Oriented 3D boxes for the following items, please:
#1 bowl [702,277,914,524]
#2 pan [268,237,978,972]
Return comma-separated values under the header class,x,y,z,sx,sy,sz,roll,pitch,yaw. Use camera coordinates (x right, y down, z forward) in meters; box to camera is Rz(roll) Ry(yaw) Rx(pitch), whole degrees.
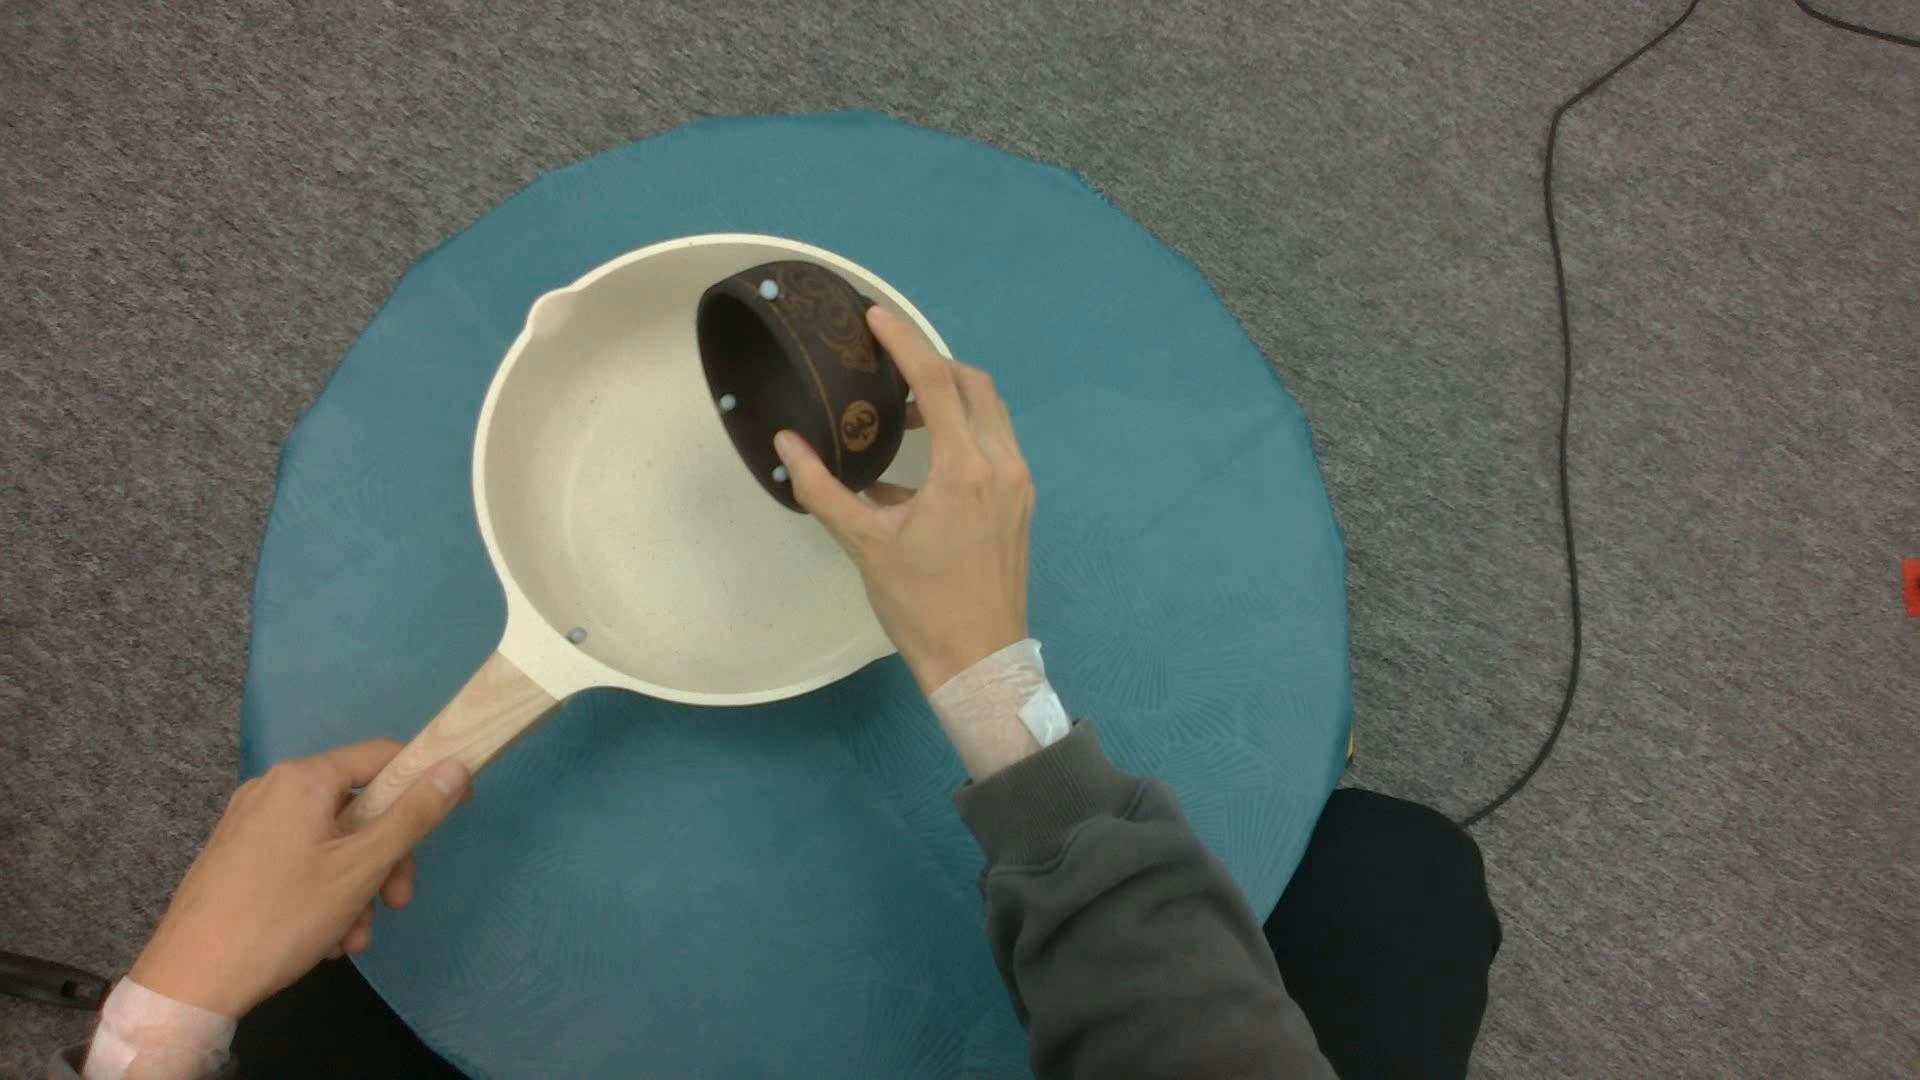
class,x,y,z,sx,sy,sz,roll,pitch,yaw
bowl,-0.066,-0.074,0.674,0.070,0.117,0.118,-30,77,-27
pan,-0.174,0.036,0.713,0.263,0.101,0.436,38,75,5
